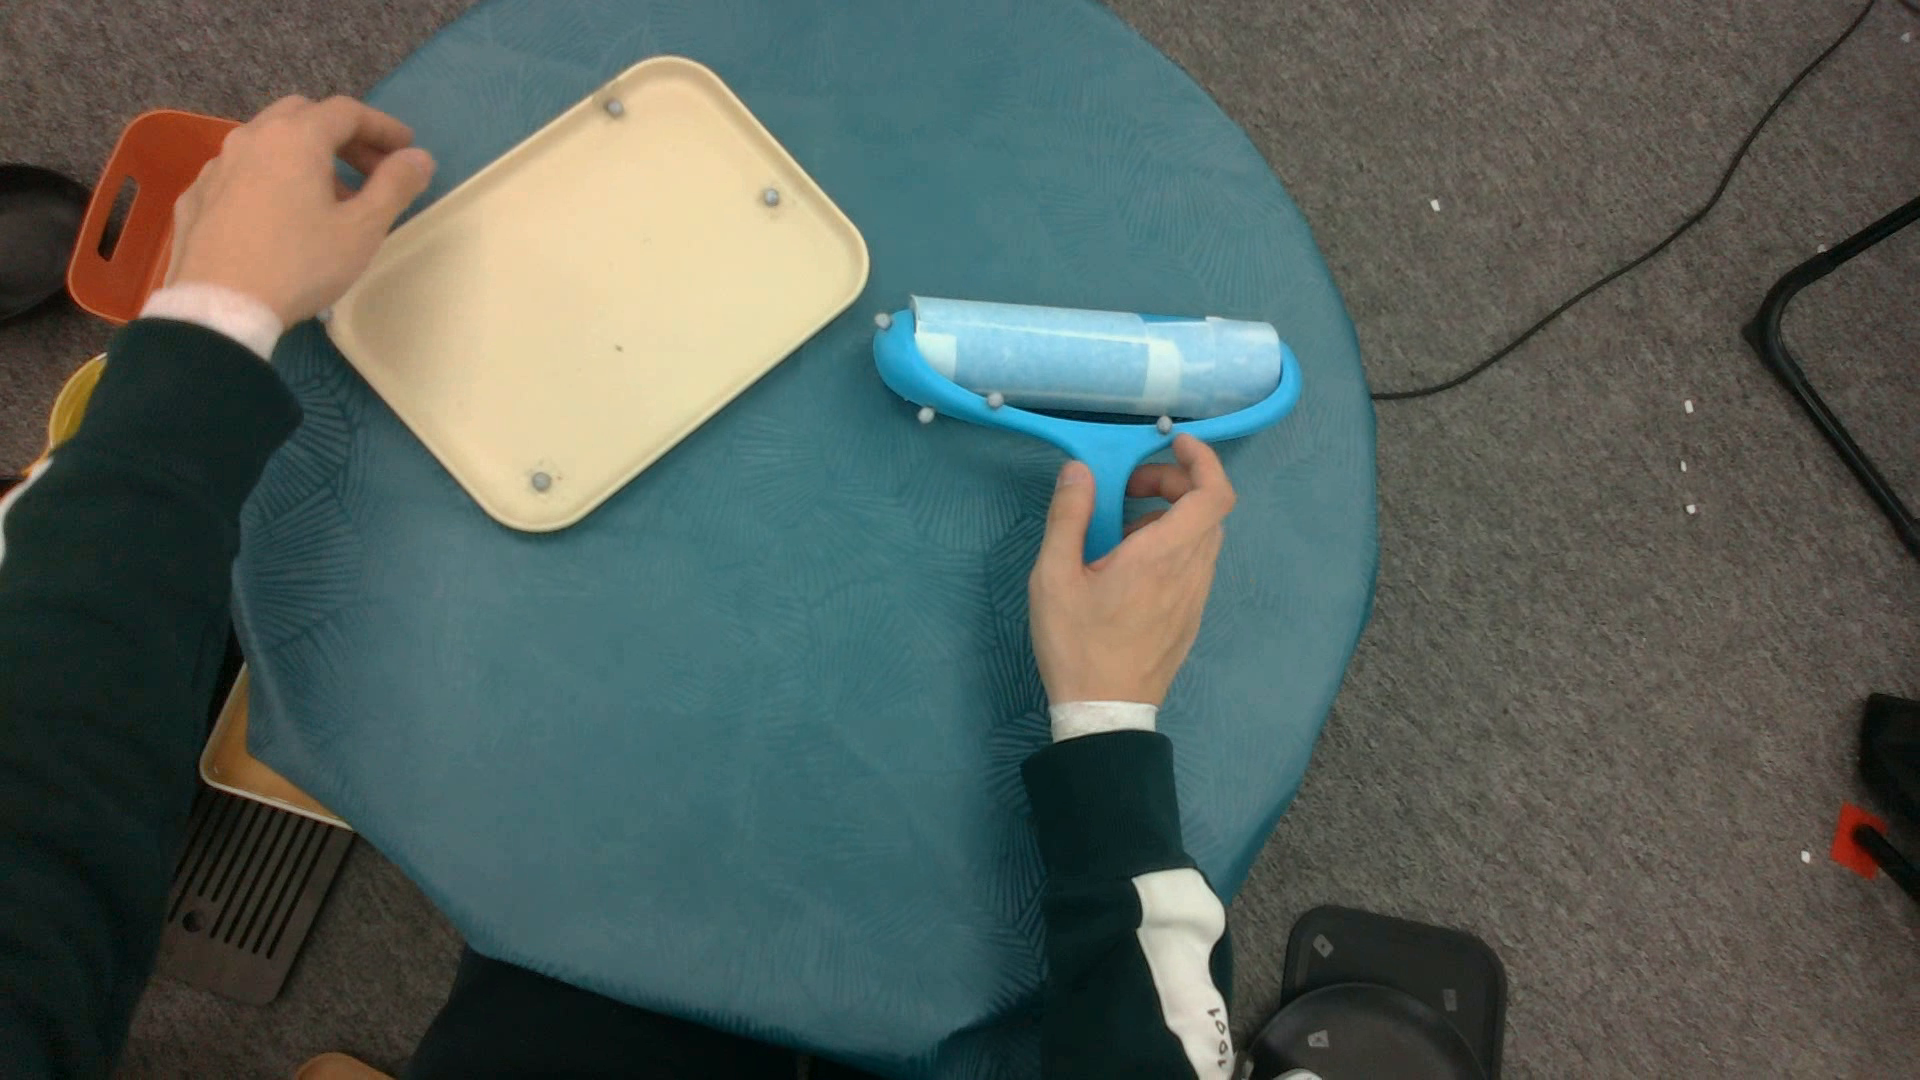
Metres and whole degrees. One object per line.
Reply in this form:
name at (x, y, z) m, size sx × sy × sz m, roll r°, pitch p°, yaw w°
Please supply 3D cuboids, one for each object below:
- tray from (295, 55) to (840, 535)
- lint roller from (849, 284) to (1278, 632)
tray at (-0.192, -0.127, 0.698) m, size 0.240 × 0.017 × 0.171 m, roll -43°, pitch 88°, yaw -17°
lint roller at (0.061, -0.047, 0.709) m, size 0.229 × 0.067 × 0.180 m, roll -2°, pitch 77°, yaw -13°
